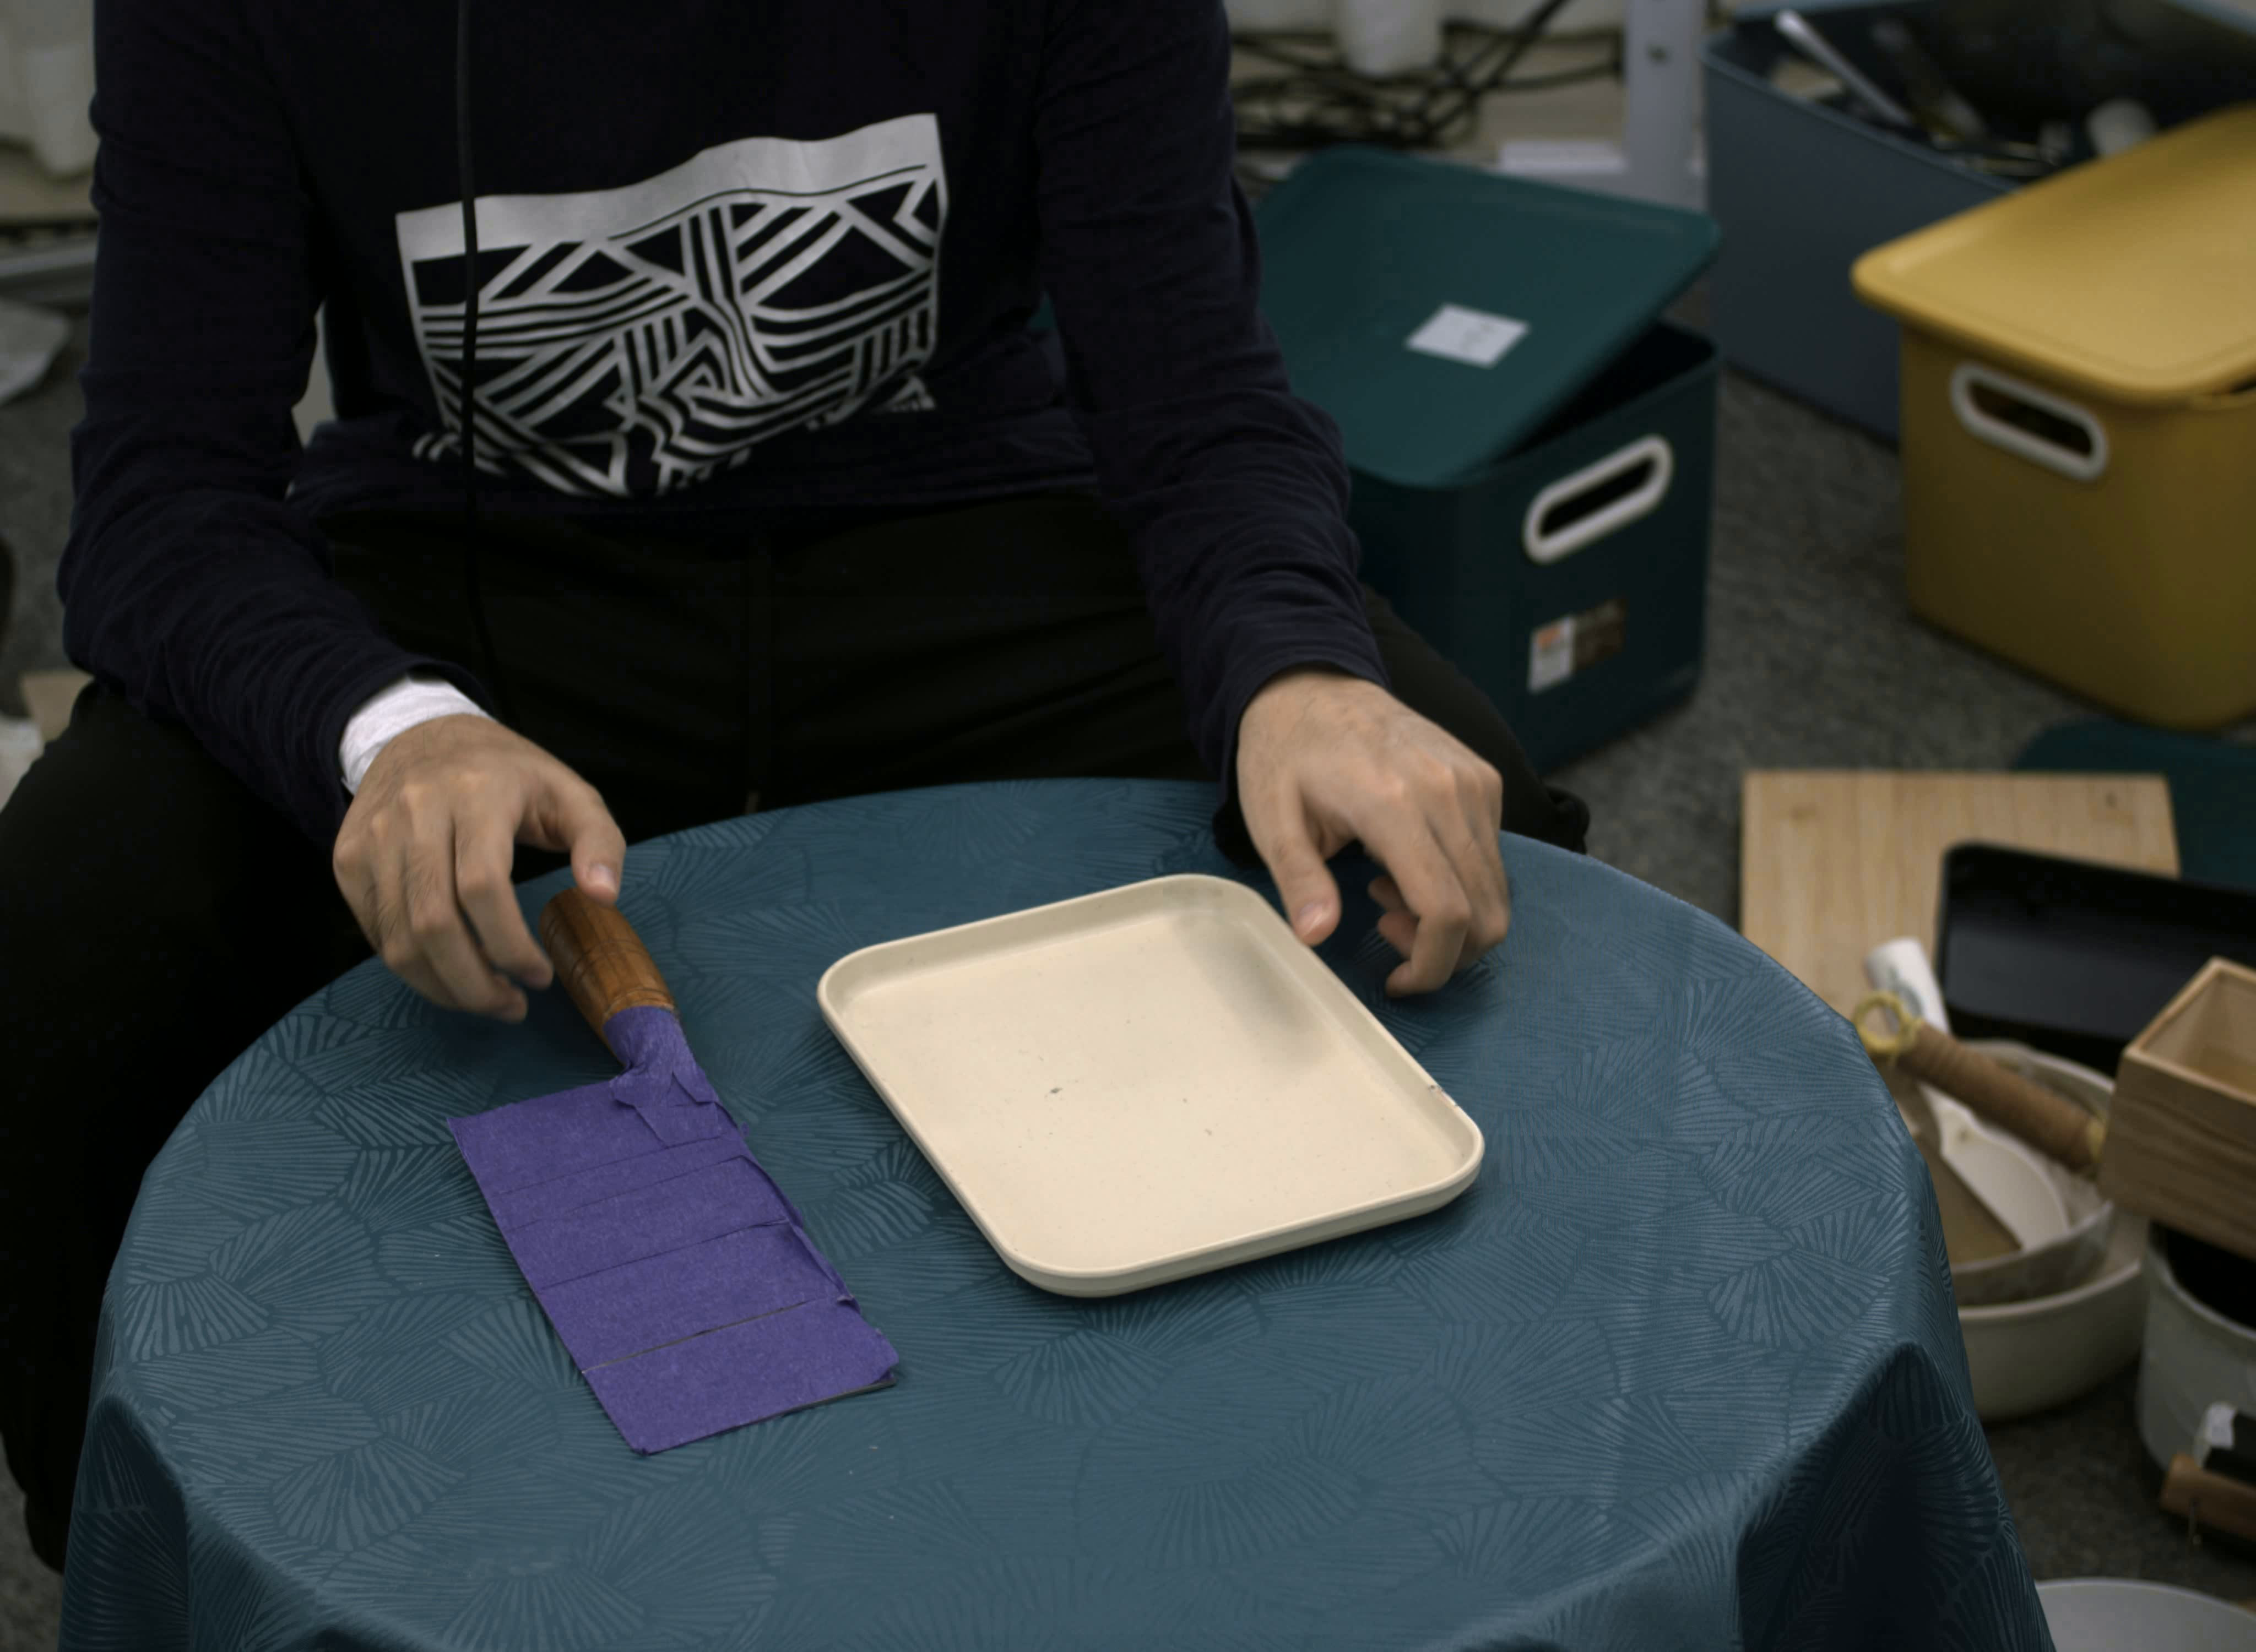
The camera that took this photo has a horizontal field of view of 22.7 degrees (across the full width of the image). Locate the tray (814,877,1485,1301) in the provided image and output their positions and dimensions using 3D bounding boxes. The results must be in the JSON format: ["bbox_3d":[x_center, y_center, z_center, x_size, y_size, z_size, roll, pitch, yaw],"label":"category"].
[{"bbox_3d":[0.004,0.088,1.908,0.172,0.017,0.241,-13,29,-18],"label":"tray"}]

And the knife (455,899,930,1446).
[{"bbox_3d":[-0.169,0.111,1.870,0.104,0.032,0.317,-13,29,-19],"label":"knife"}]
